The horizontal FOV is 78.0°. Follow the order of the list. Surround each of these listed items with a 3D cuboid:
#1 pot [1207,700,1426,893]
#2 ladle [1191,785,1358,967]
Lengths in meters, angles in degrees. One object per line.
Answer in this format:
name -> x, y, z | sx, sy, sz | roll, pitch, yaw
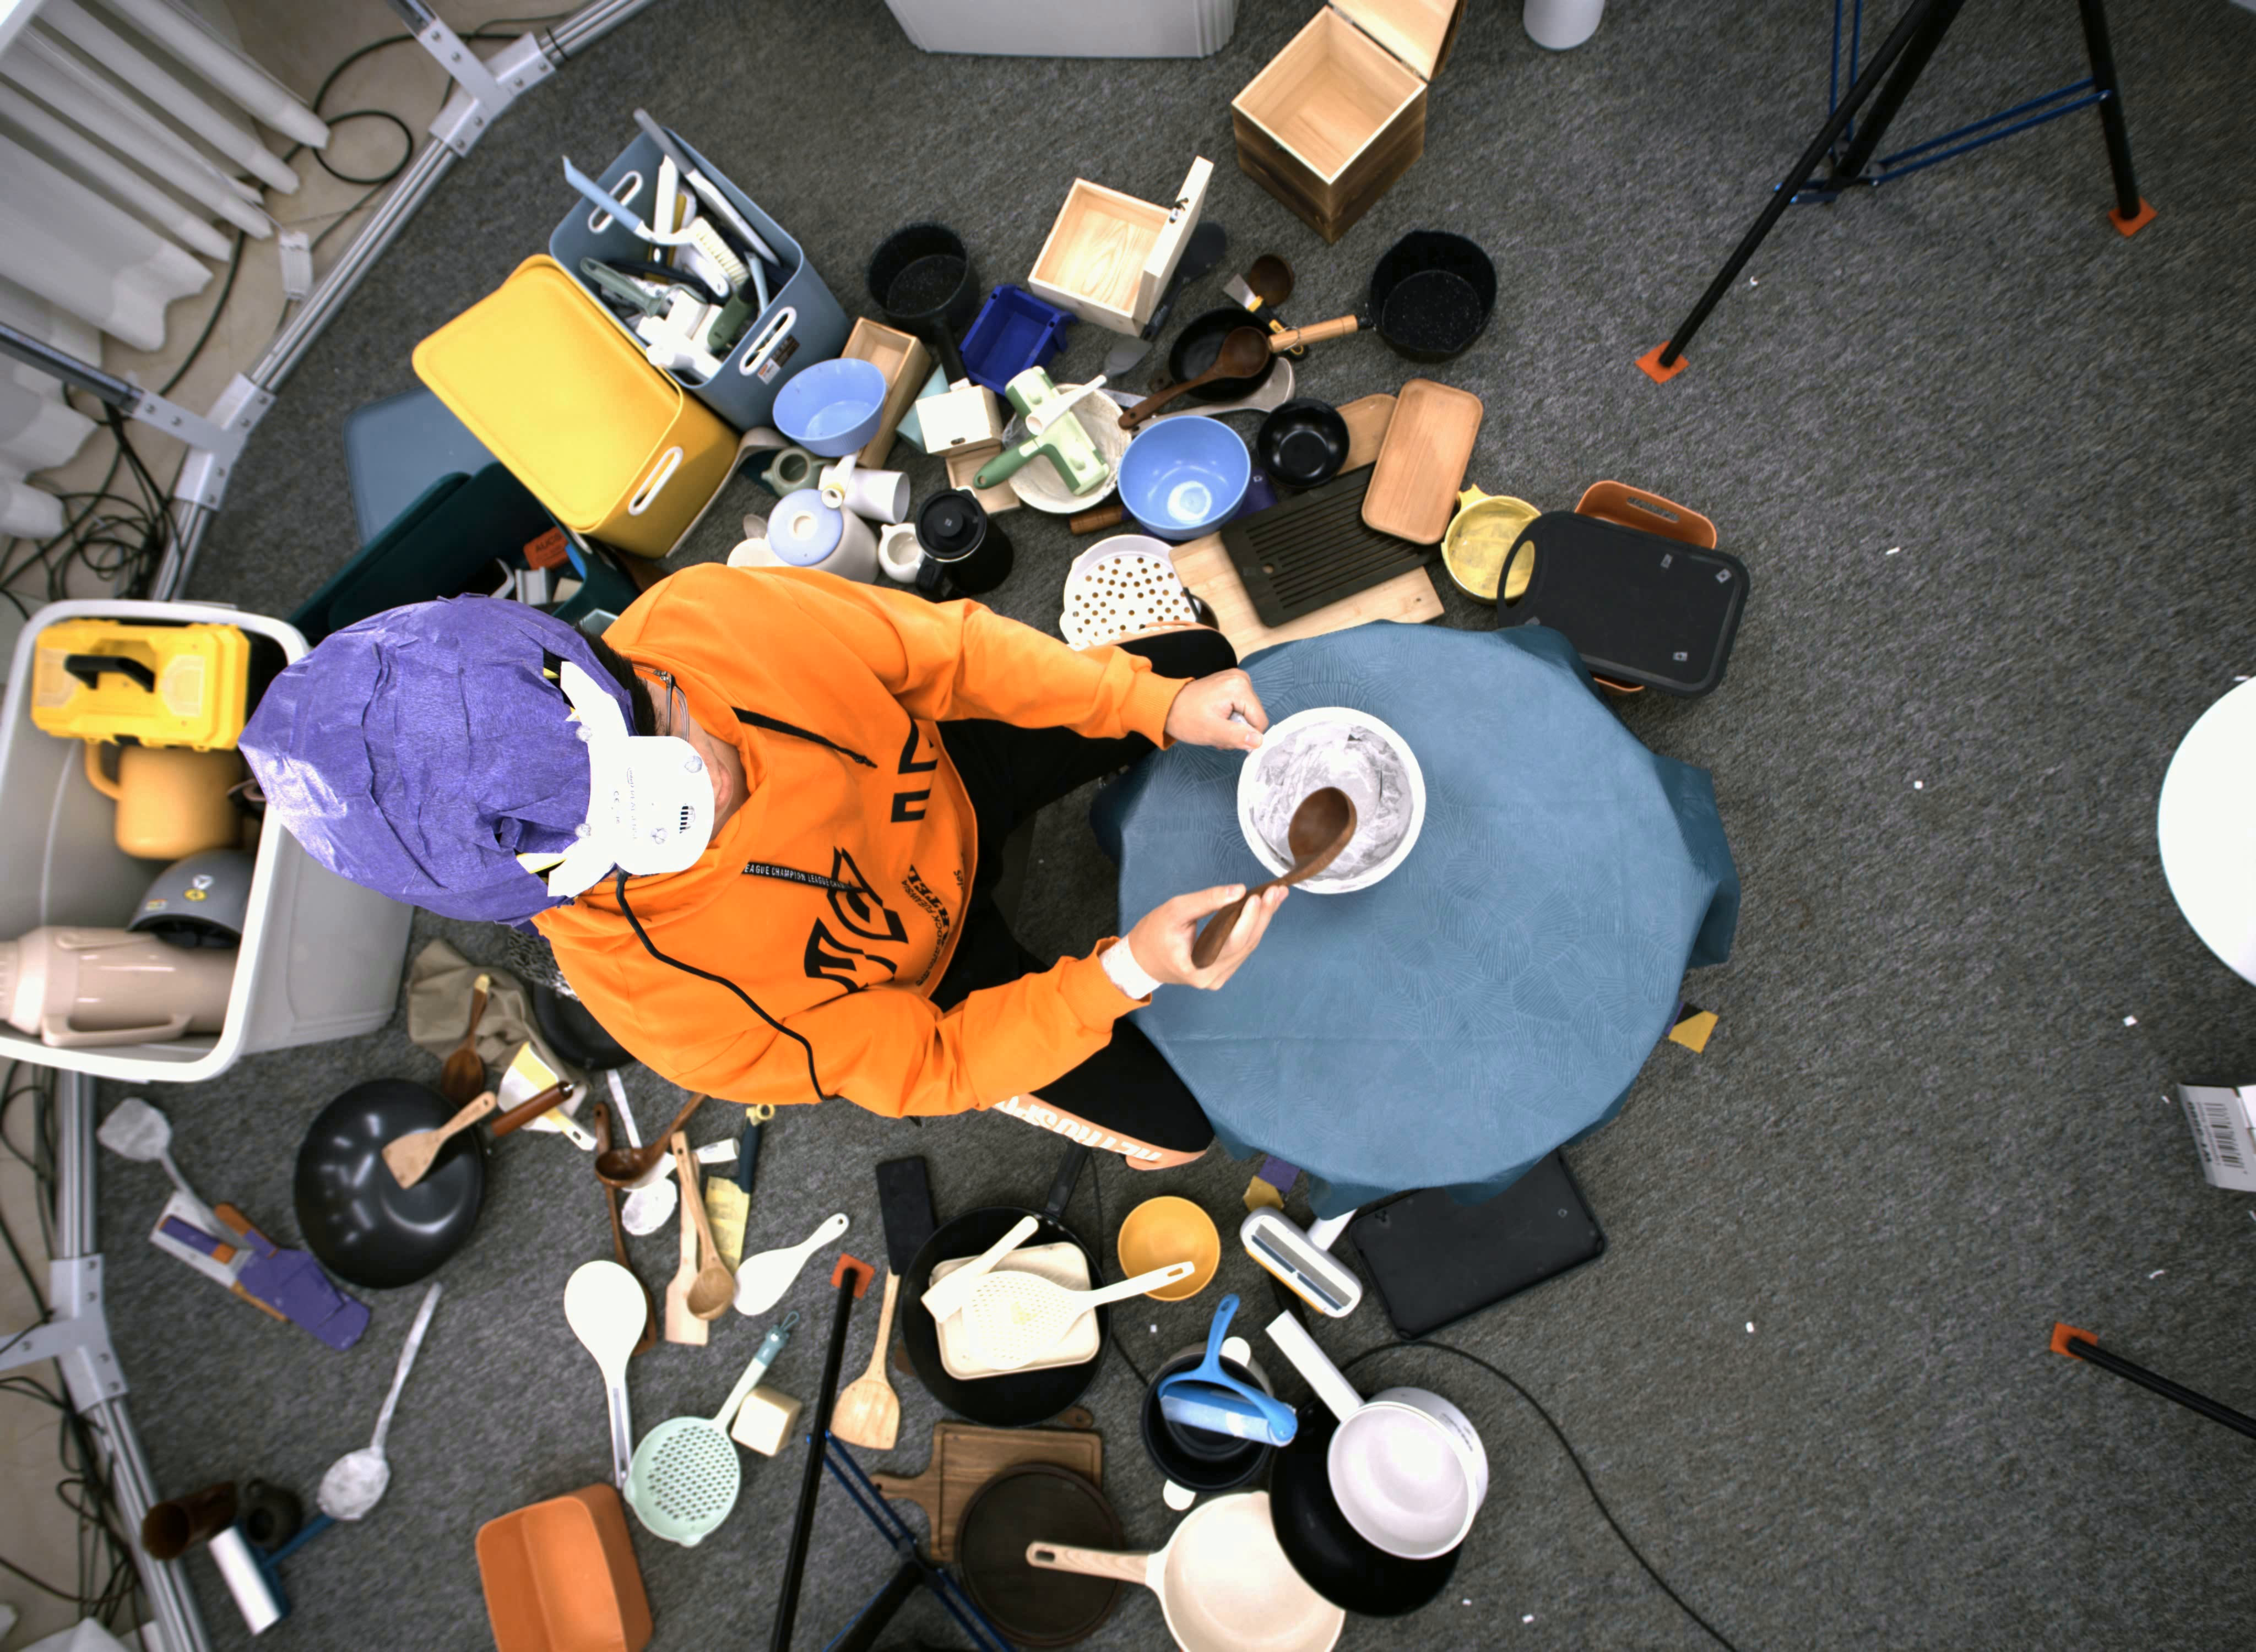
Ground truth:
pot -> 0.176, -0.045, 1.365 | 0.233, 0.135, 0.180 | 35, 99, 3
ladle -> 0.125, 0.038, 1.236 | 0.077, 0.255, 0.065 | -14, 105, 46
